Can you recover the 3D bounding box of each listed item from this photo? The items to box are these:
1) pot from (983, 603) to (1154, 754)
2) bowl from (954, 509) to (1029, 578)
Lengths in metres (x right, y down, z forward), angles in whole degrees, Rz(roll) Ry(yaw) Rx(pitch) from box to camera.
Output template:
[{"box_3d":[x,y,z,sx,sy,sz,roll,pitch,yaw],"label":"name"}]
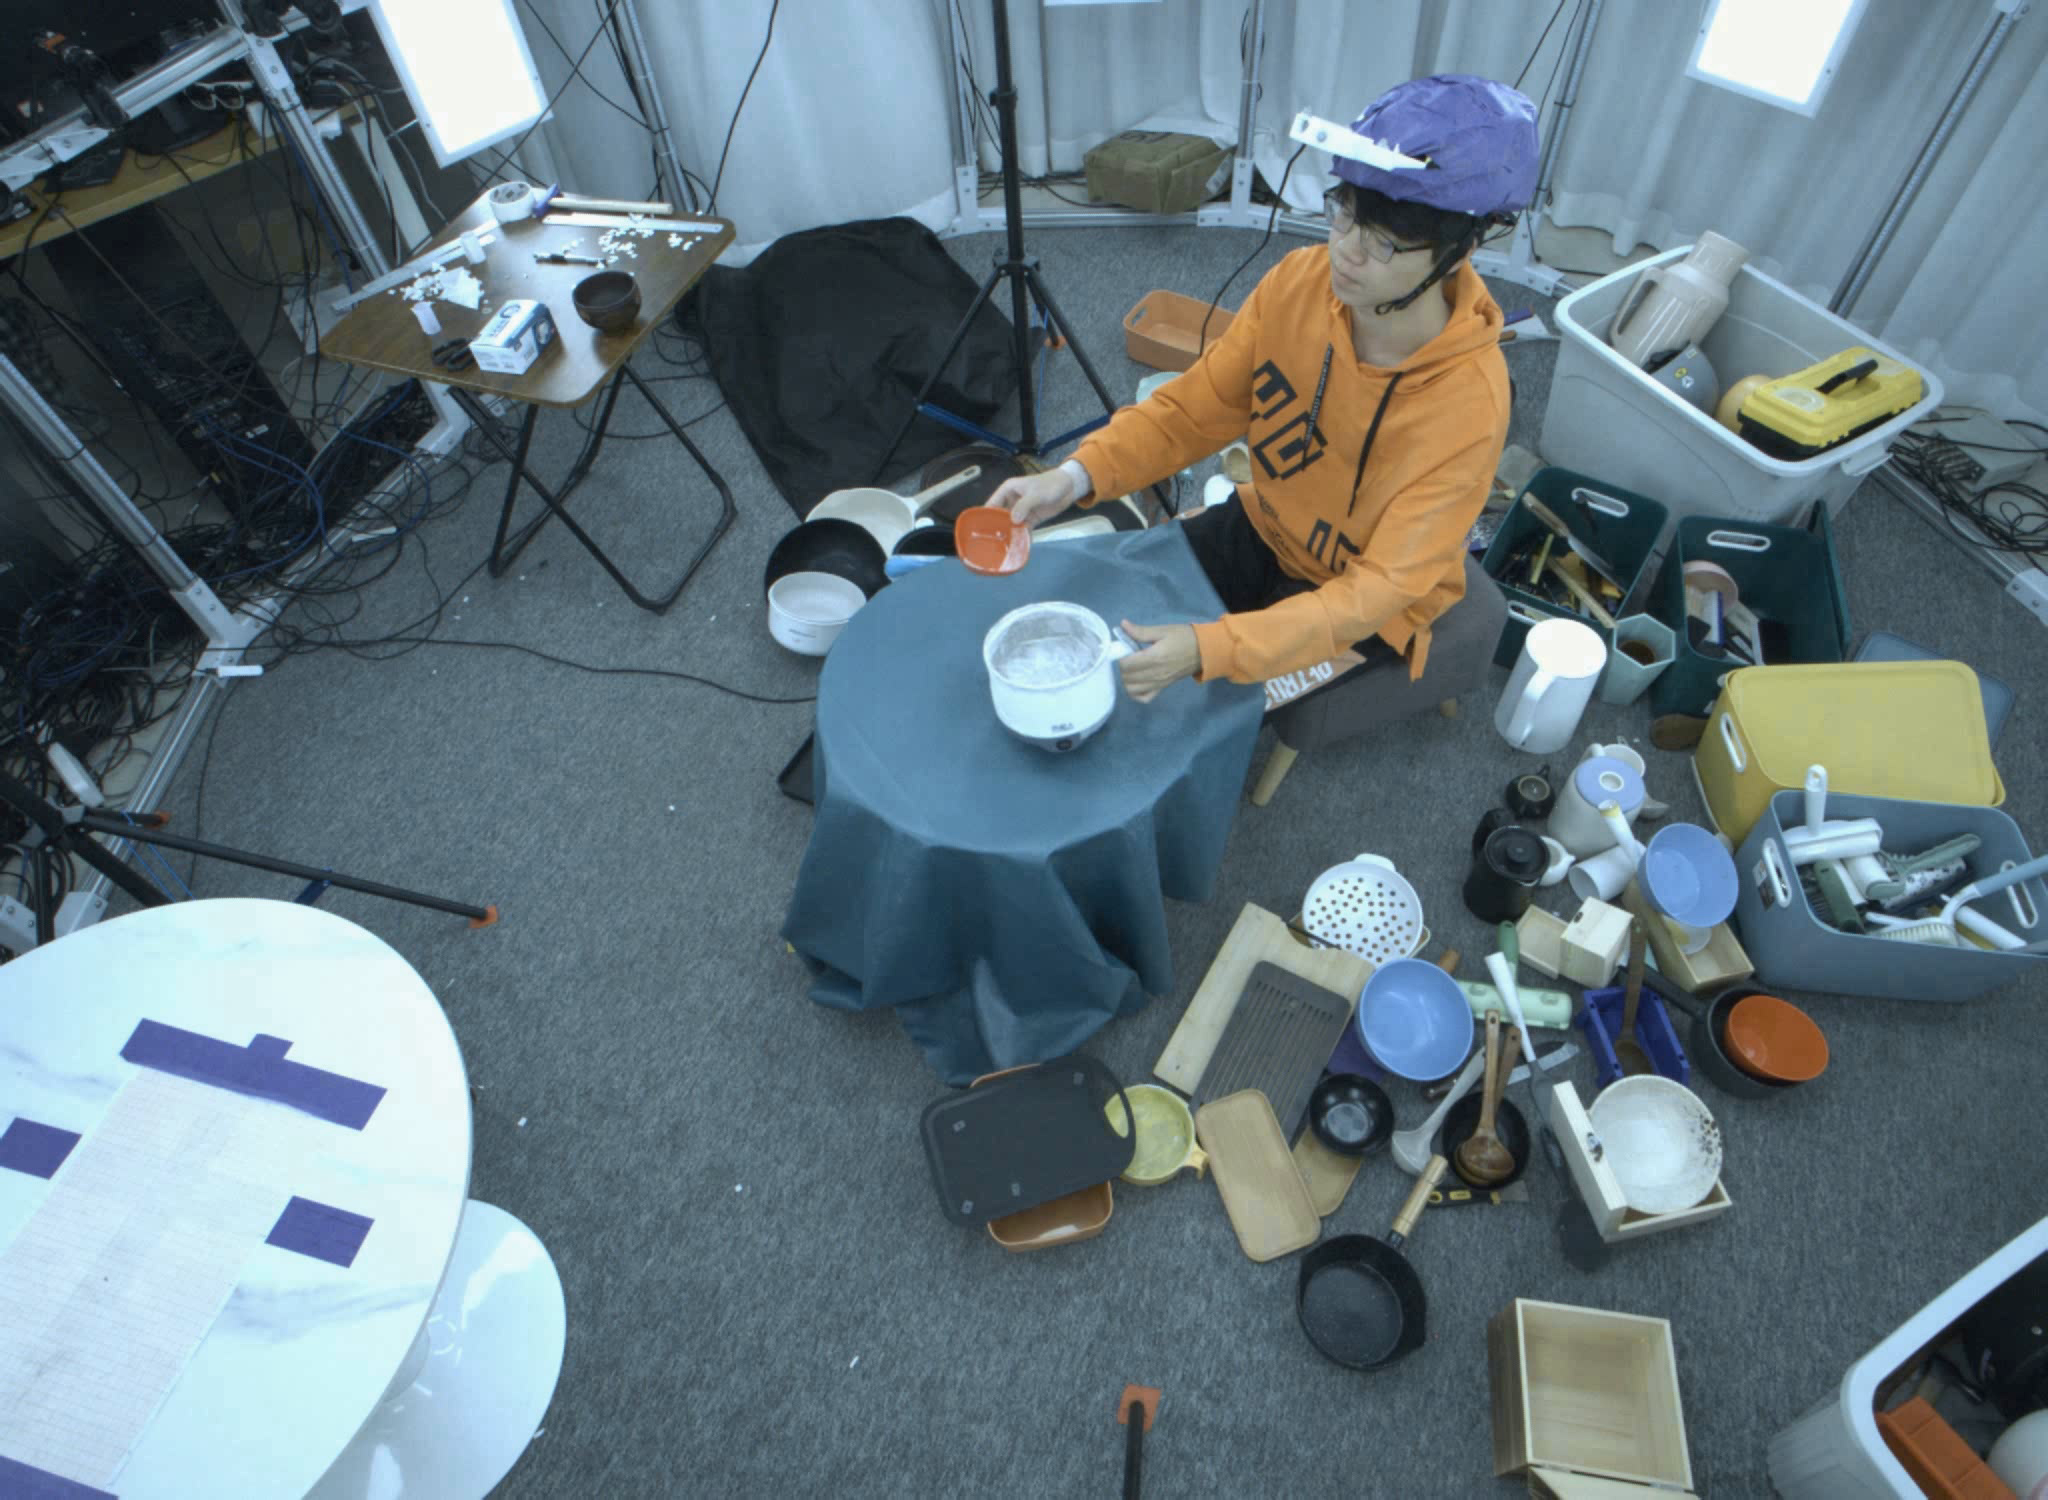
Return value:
[{"box_3d":[0.066,-0.107,1.741,0.234,0.138,0.176,-12,49,-2],"label":"pot"},{"box_3d":[-0.052,-0.292,1.784,0.120,0.051,0.118,7,66,-14],"label":"bowl"}]
